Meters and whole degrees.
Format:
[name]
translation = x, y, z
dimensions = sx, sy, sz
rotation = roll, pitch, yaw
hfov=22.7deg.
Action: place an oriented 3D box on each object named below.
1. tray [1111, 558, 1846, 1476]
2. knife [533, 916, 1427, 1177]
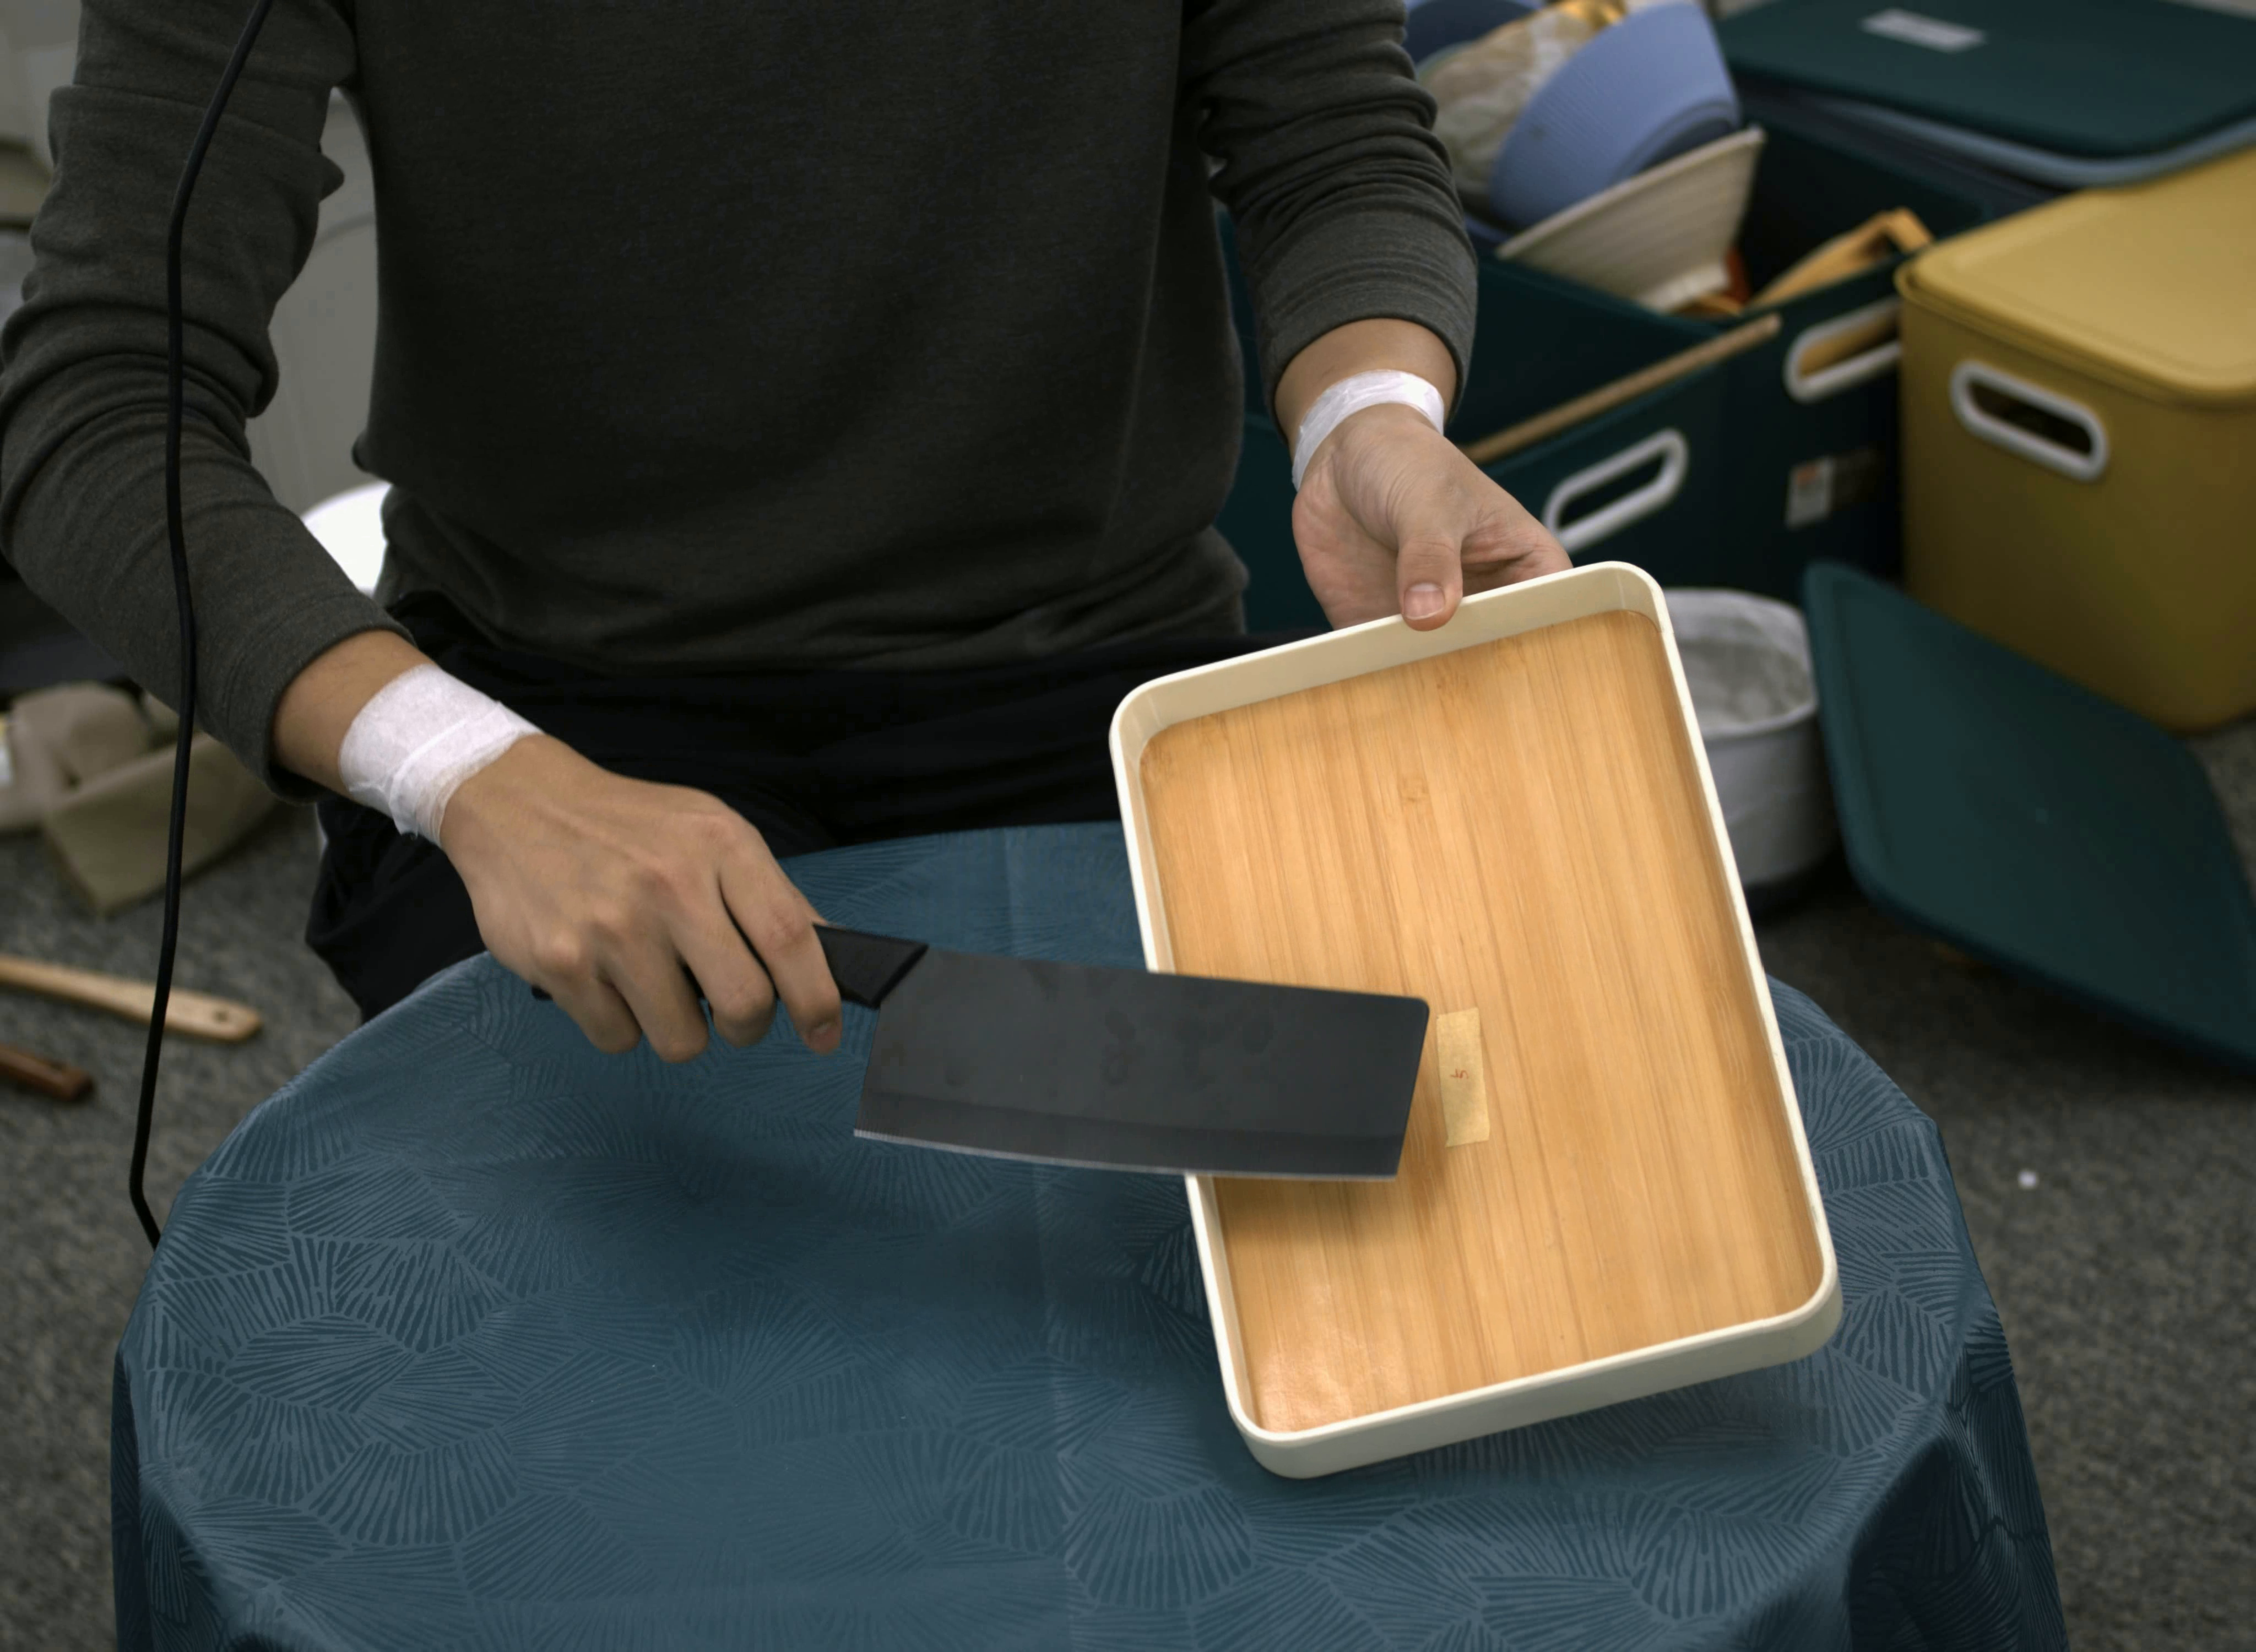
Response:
[tray]
translation = 0.106, 0.055, 1.784
dimensions = 0.190, 0.027, 0.306
rotation = -14, 52, 5
[knife]
translation = -0.051, 0.068, 1.791
dimensions = 0.300, 0.020, 0.082
rotation = 9, 67, 20
